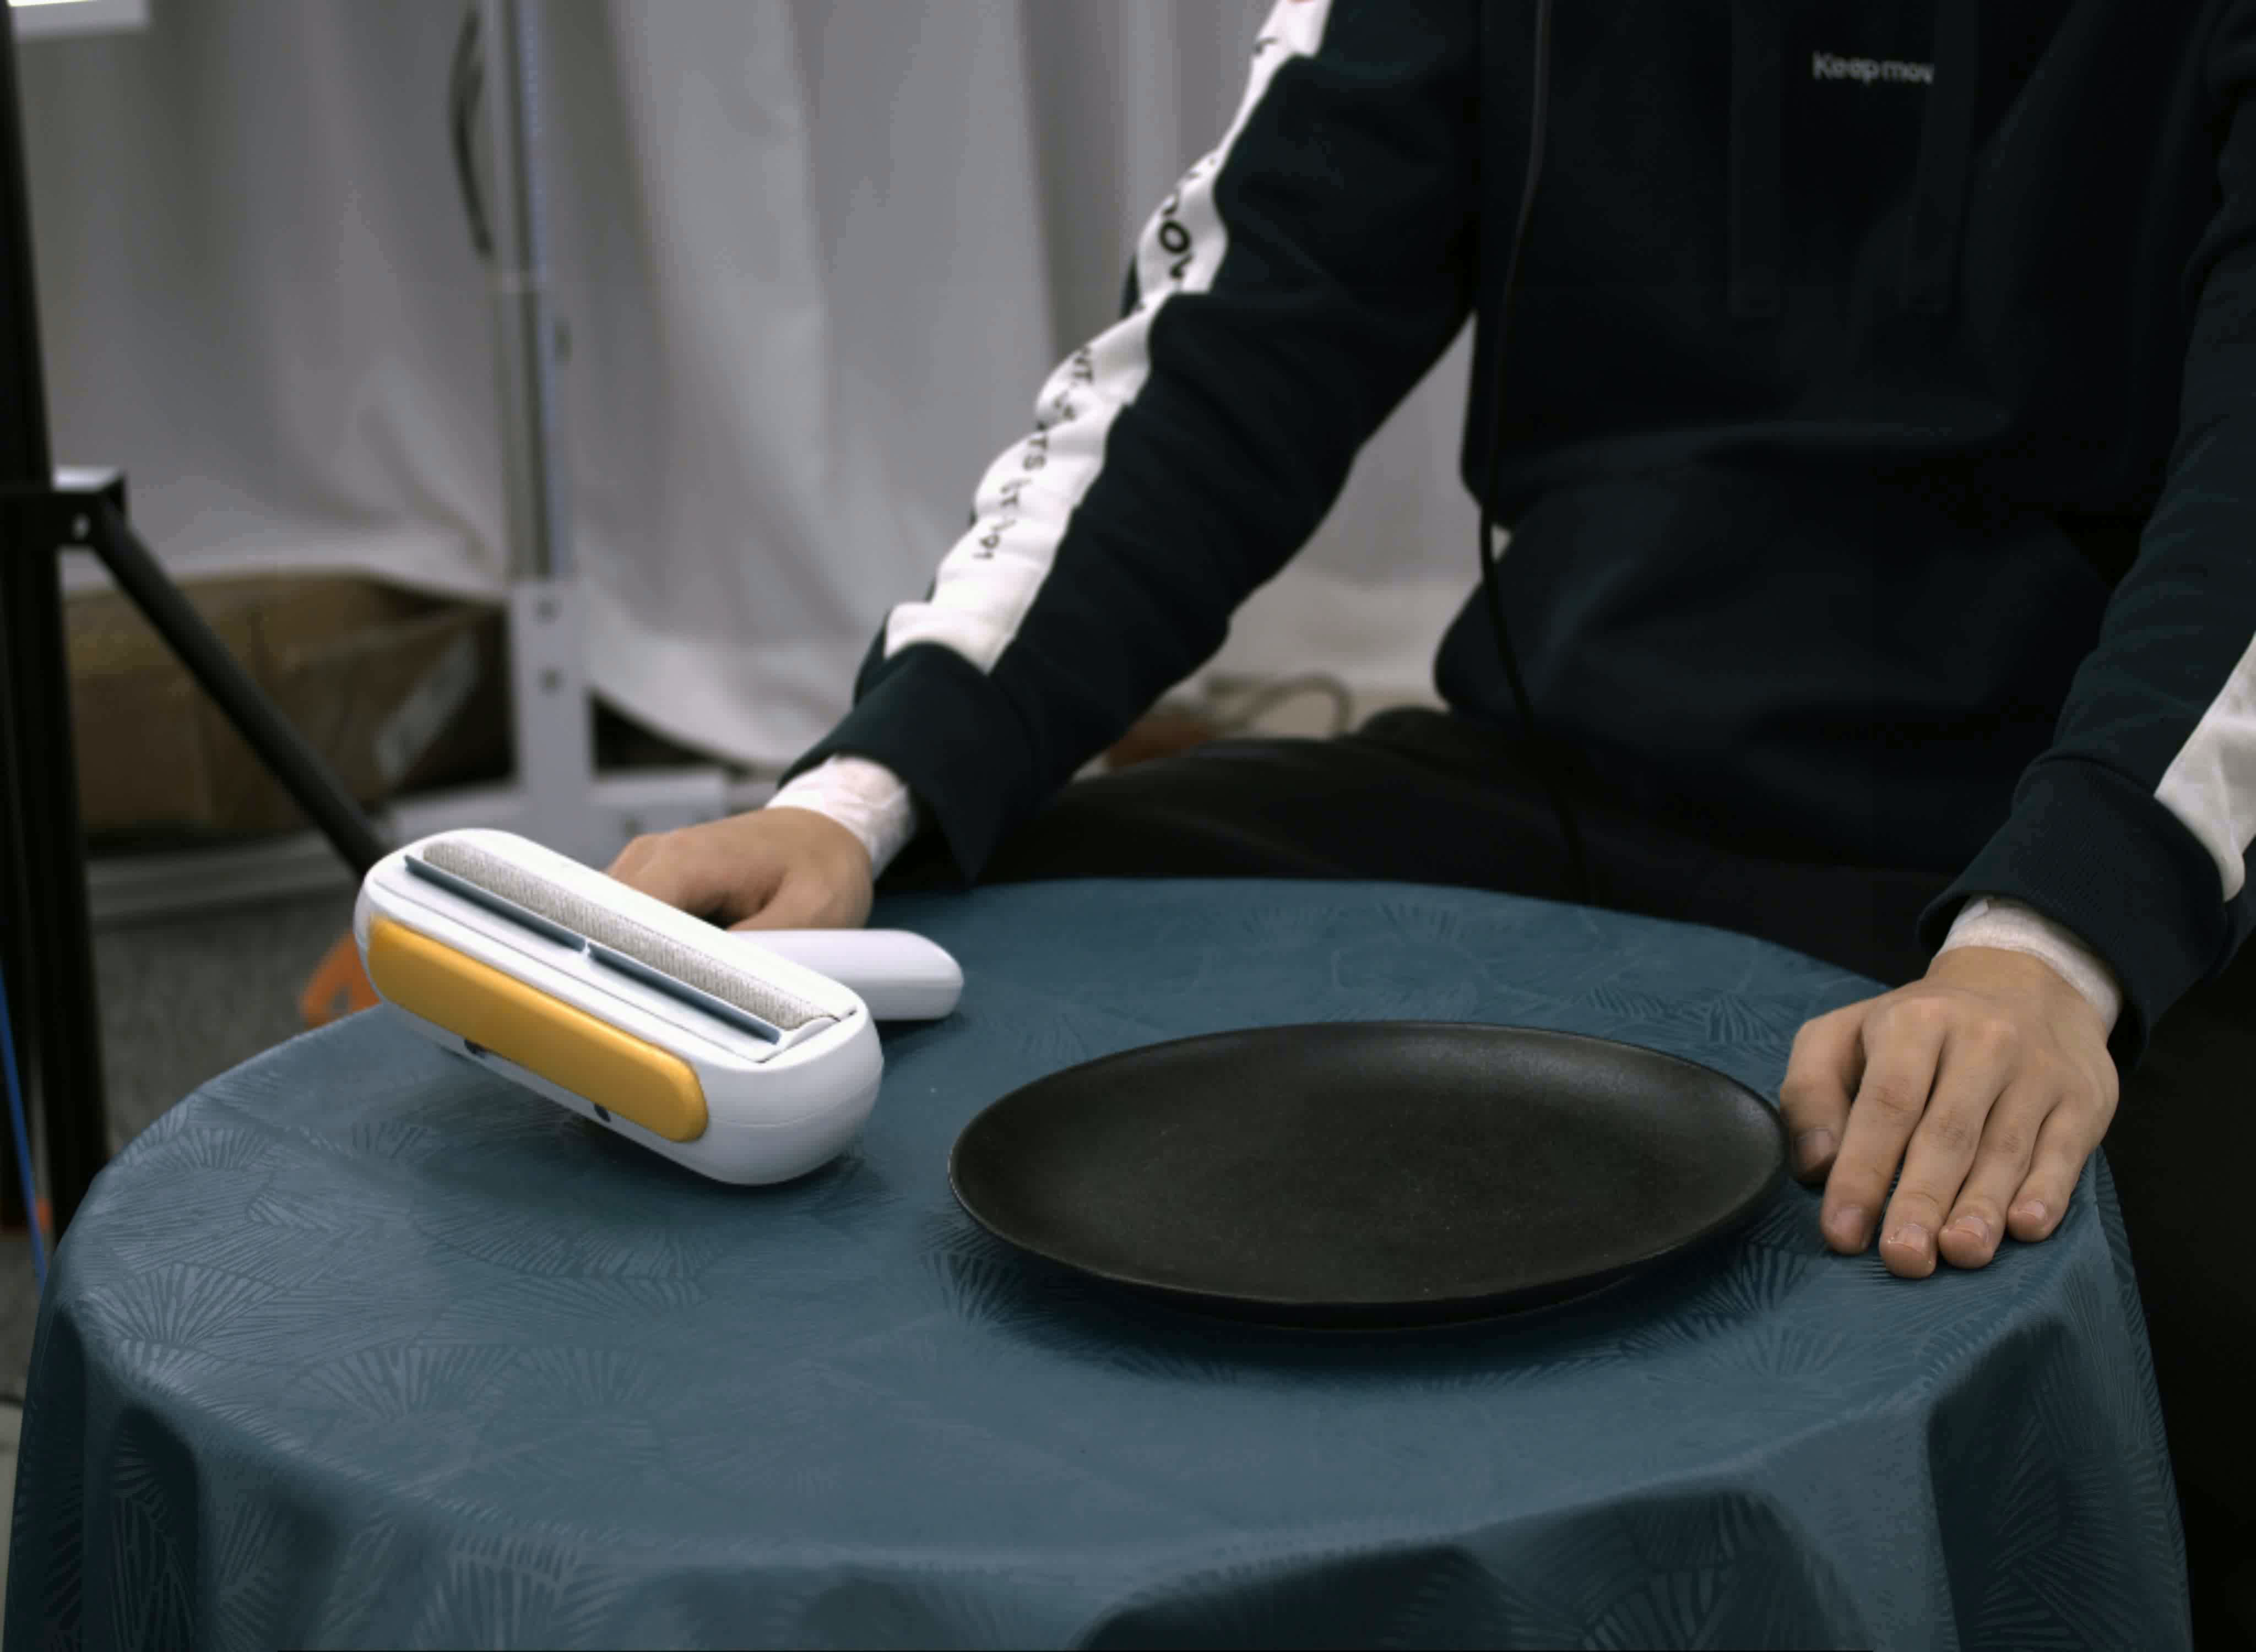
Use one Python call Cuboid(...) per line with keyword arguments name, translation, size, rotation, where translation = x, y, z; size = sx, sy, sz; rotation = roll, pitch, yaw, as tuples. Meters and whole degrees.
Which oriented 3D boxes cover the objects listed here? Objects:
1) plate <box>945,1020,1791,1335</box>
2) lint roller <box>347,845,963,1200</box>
Cuboid(name="plate", translation=(0.069, 0.103, 1.521), size=(0.243, 0.023, 0.245), rotation=(-3, 16, -1))
Cuboid(name="lint roller", translation=(-0.125, 0.066, 1.672), size=(0.187, 0.074, 0.197), rotation=(3, 14, -45))
